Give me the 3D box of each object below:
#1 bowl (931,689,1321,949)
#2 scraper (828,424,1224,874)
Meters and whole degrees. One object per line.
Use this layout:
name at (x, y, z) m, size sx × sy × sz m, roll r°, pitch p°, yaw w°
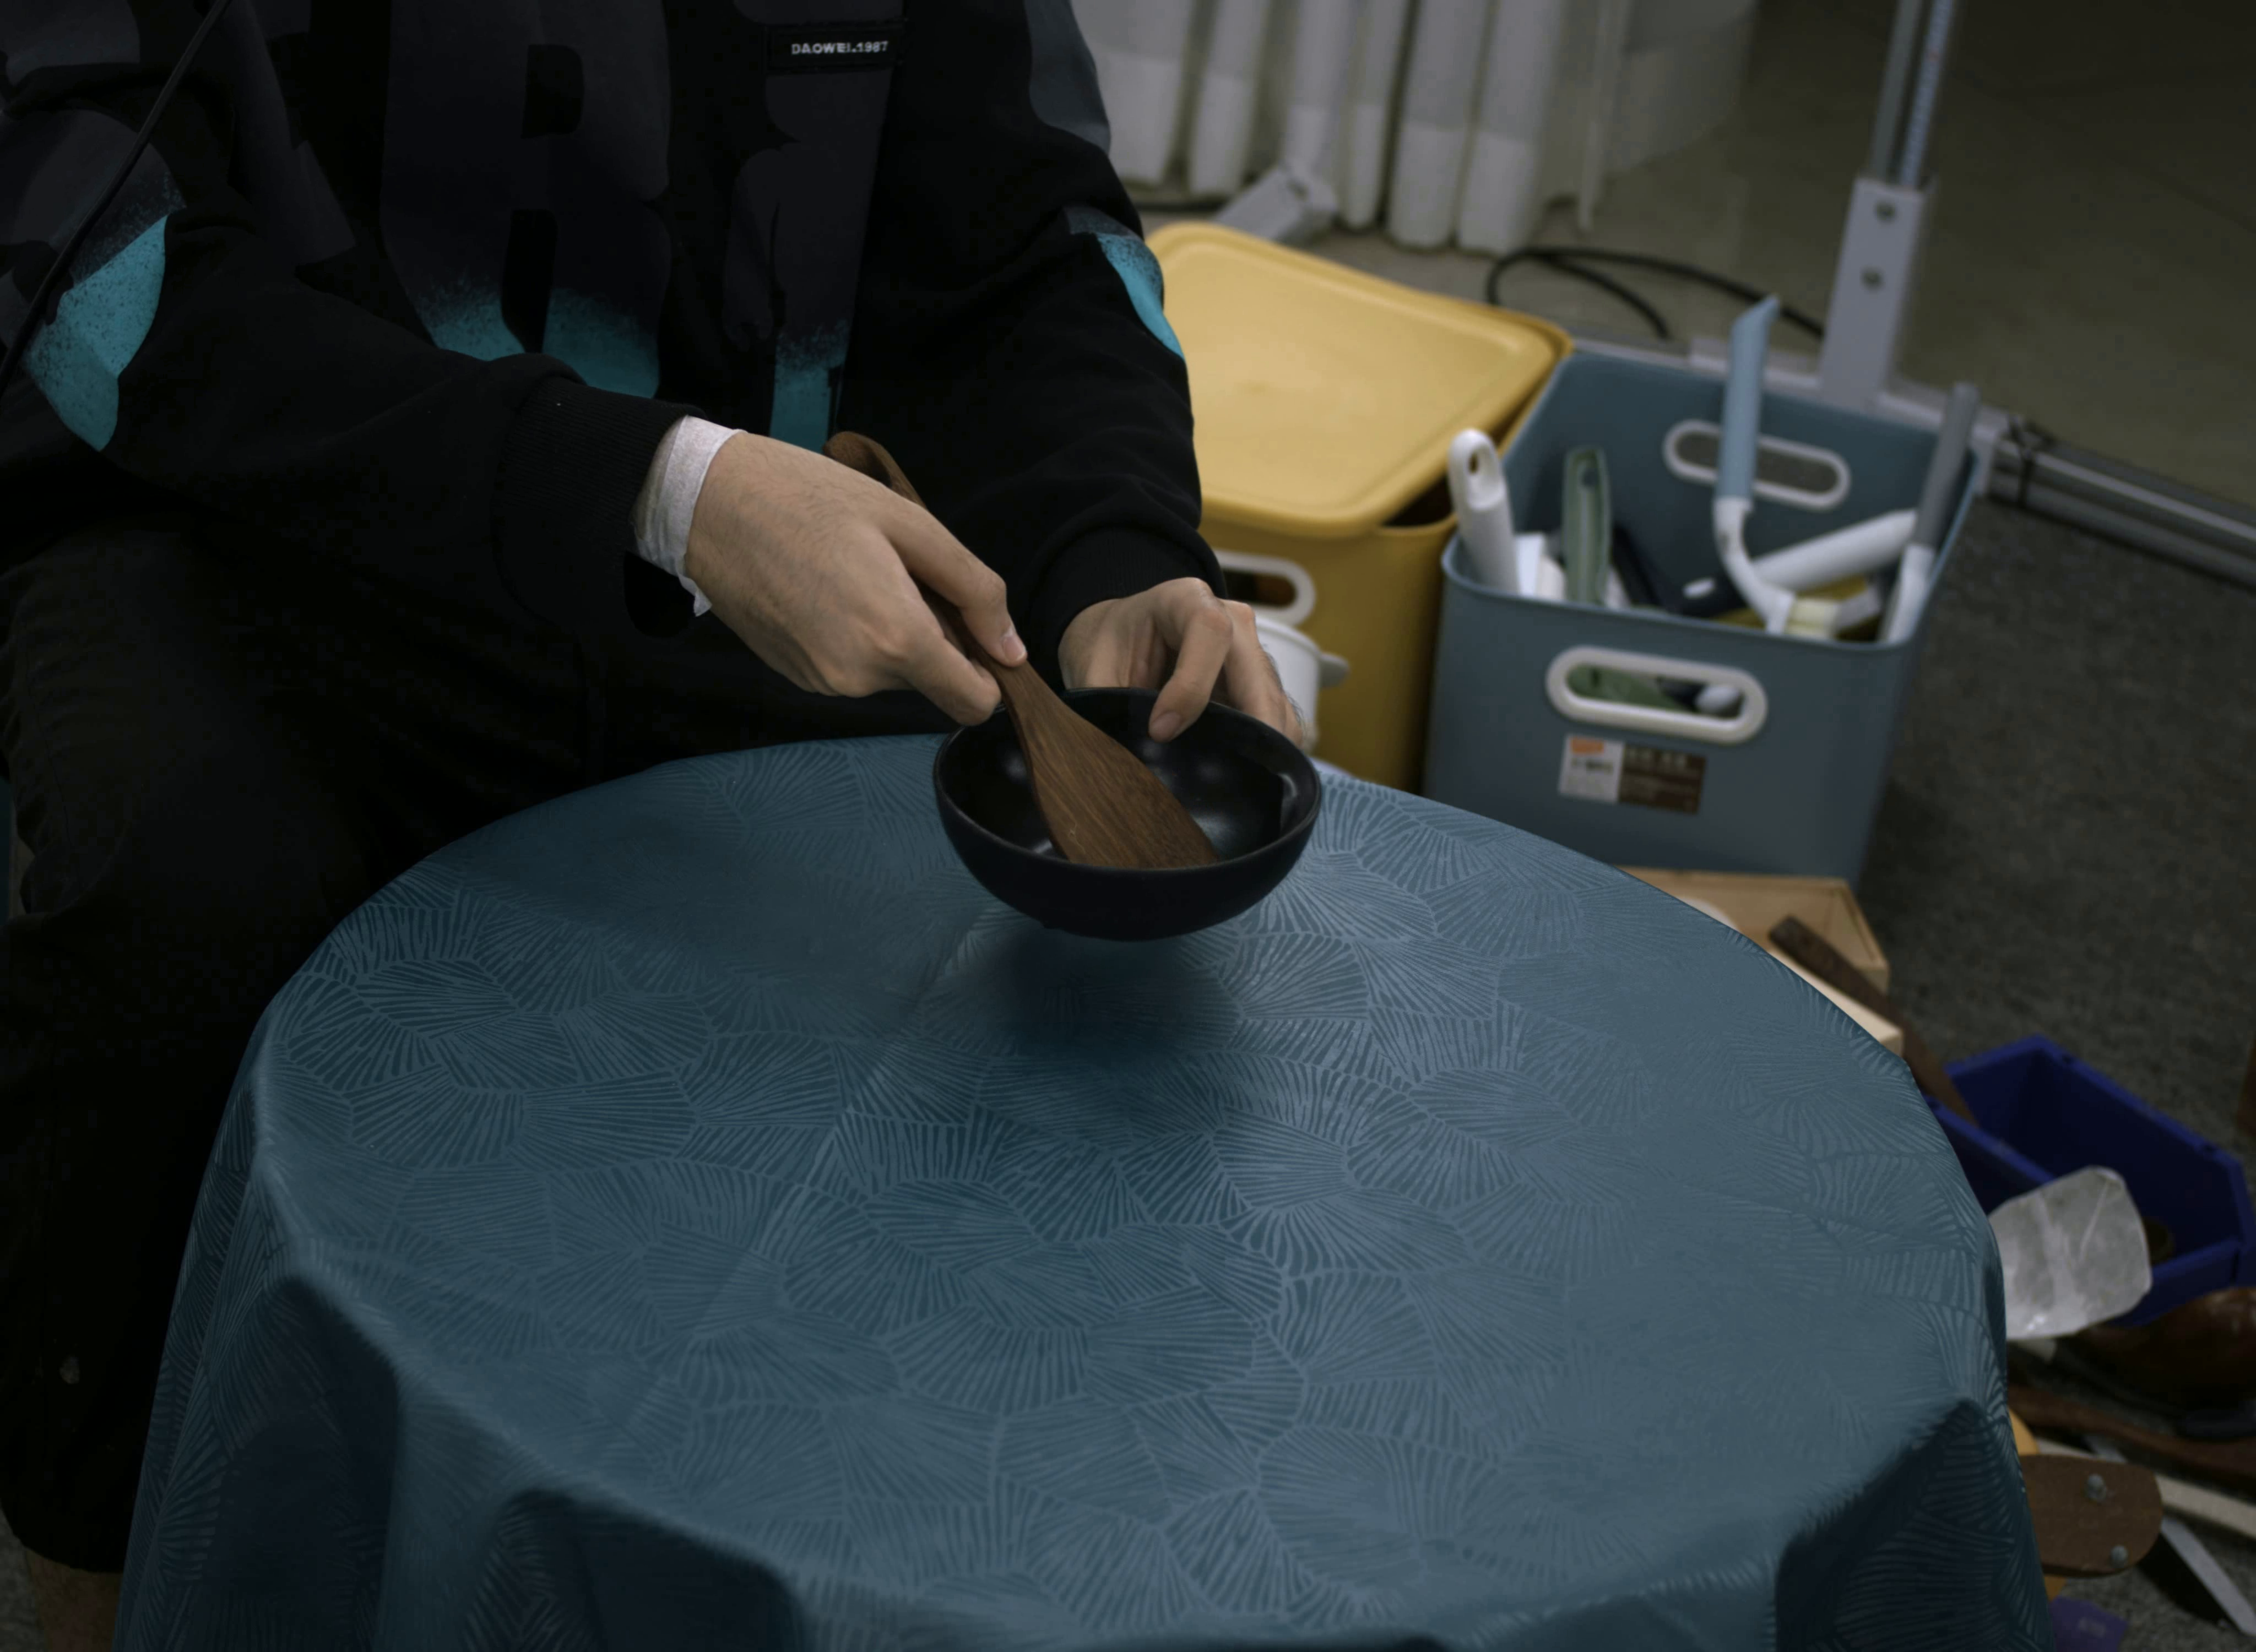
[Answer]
bowl at (-0.001, 0.005, 1.894) m, size 0.139 × 0.049 × 0.141 m, roll 0°, pitch 29°, yaw 0°
scraper at (-0.042, -0.056, 1.899) m, size 0.212 × 0.011 × 0.075 m, roll 55°, pitch 36°, yaw 5°
